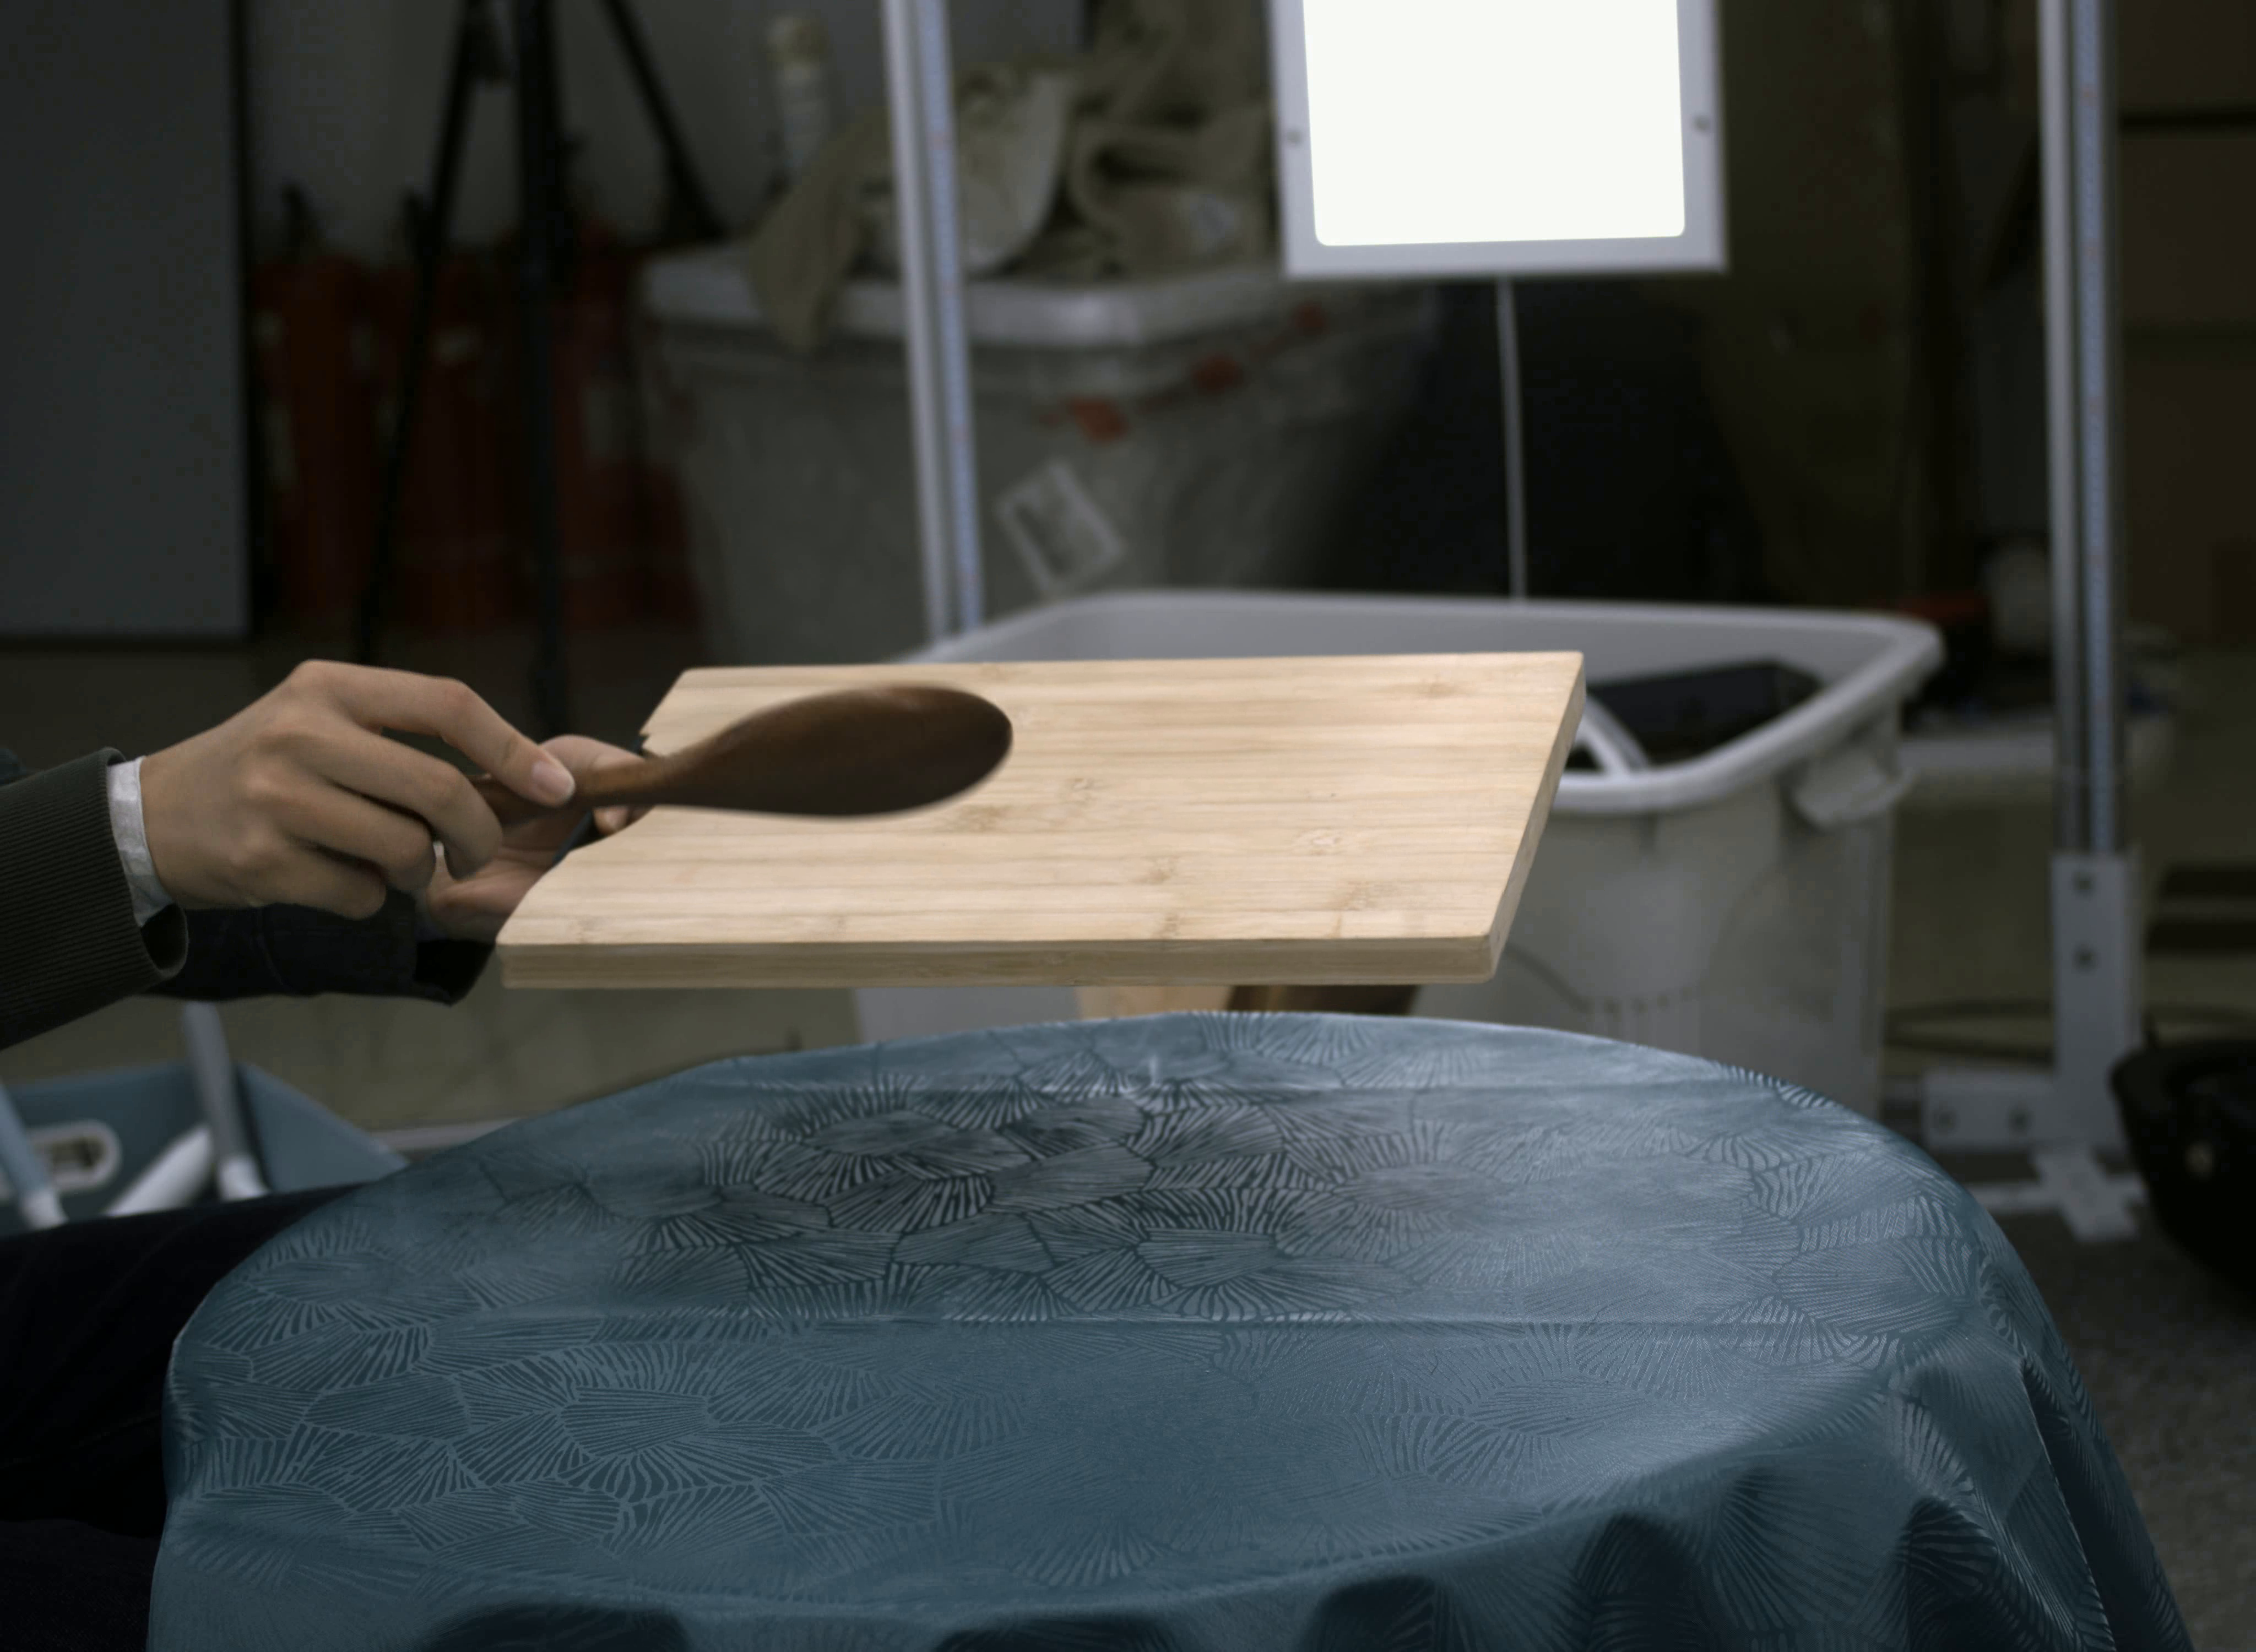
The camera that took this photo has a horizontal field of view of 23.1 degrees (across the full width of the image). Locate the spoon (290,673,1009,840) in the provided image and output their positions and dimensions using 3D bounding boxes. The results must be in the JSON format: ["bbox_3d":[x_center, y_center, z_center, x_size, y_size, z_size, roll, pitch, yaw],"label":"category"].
[{"bbox_3d":[-0.142,-0.017,1.636,0.216,0.017,0.075,-7,-21,3],"label":"spoon"}]

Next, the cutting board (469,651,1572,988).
[{"bbox_3d":[-0.031,-0.003,1.916,0.352,0.023,0.247,-1,24,14],"label":"cutting board"}]
